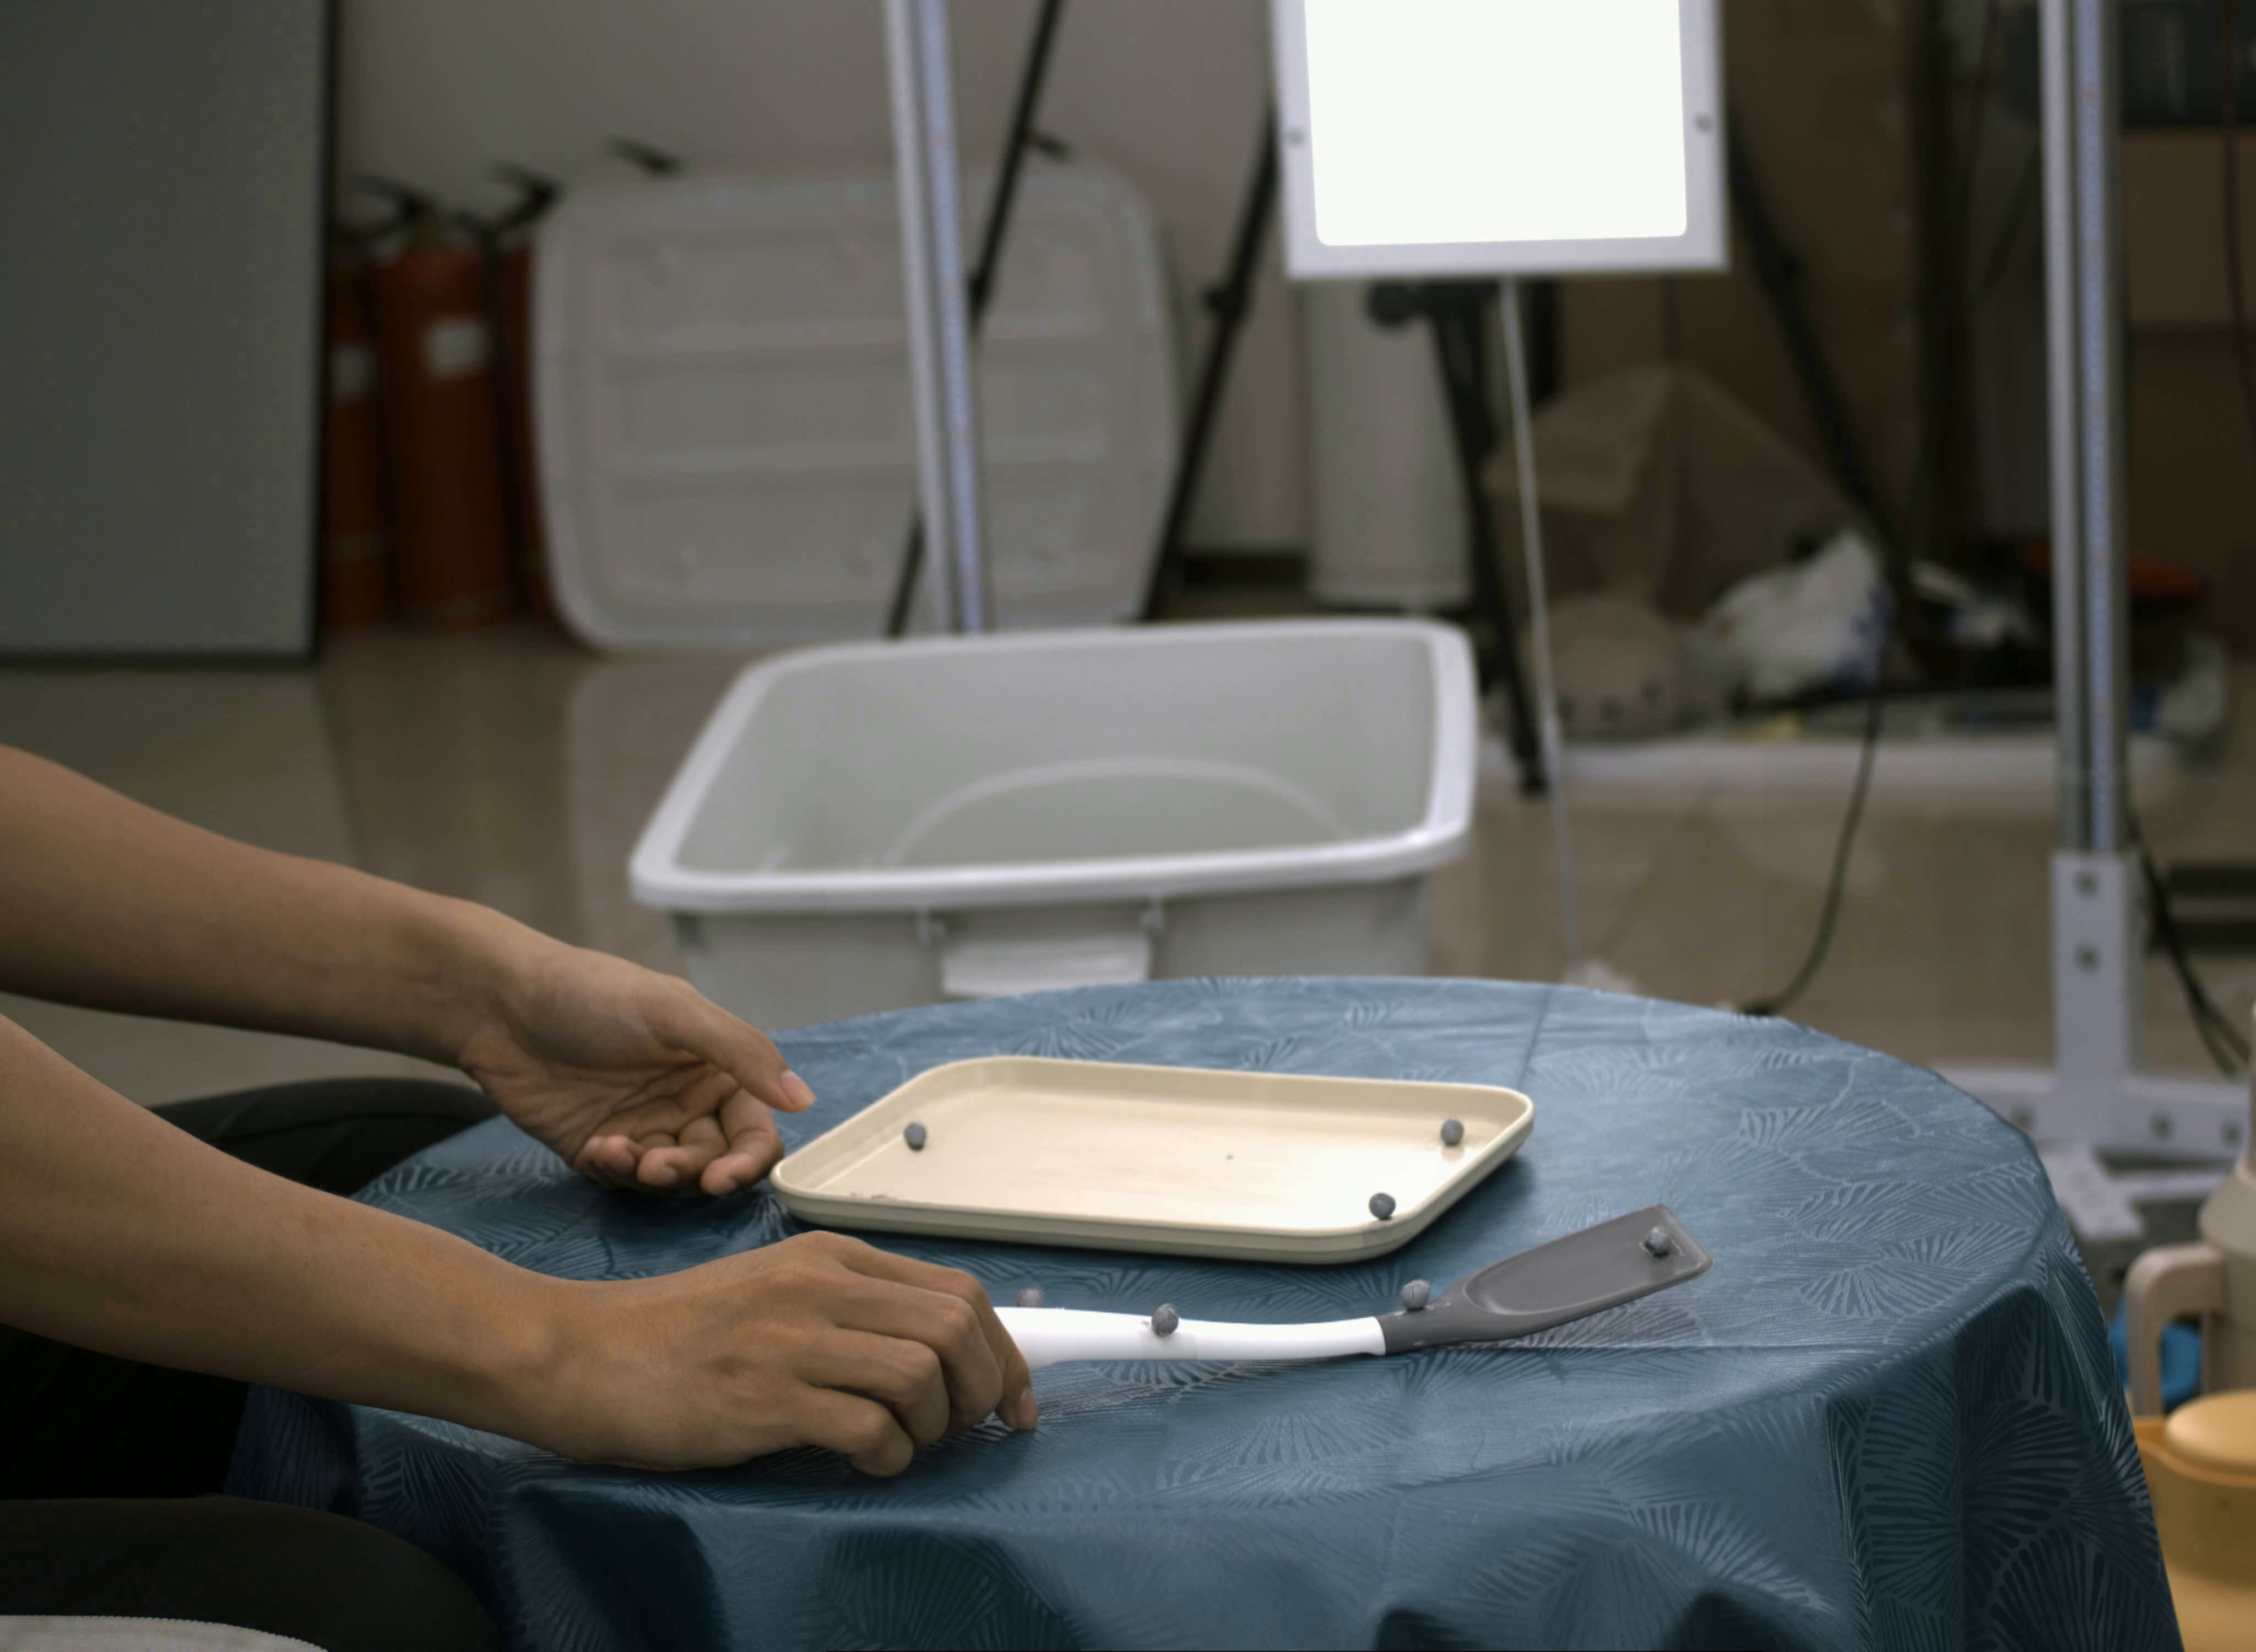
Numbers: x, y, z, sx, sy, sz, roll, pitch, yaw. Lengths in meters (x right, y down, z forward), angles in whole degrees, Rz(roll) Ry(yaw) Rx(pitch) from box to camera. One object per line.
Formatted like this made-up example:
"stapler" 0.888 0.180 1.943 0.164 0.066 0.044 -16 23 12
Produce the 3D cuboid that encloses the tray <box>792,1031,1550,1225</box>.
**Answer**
"tray" 0.016 0.105 1.917 0.244 0.017 0.168 2 14 27

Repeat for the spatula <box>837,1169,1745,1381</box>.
"spatula" 0.052 0.140 1.715 0.284 0.032 0.059 -6 16 -12
